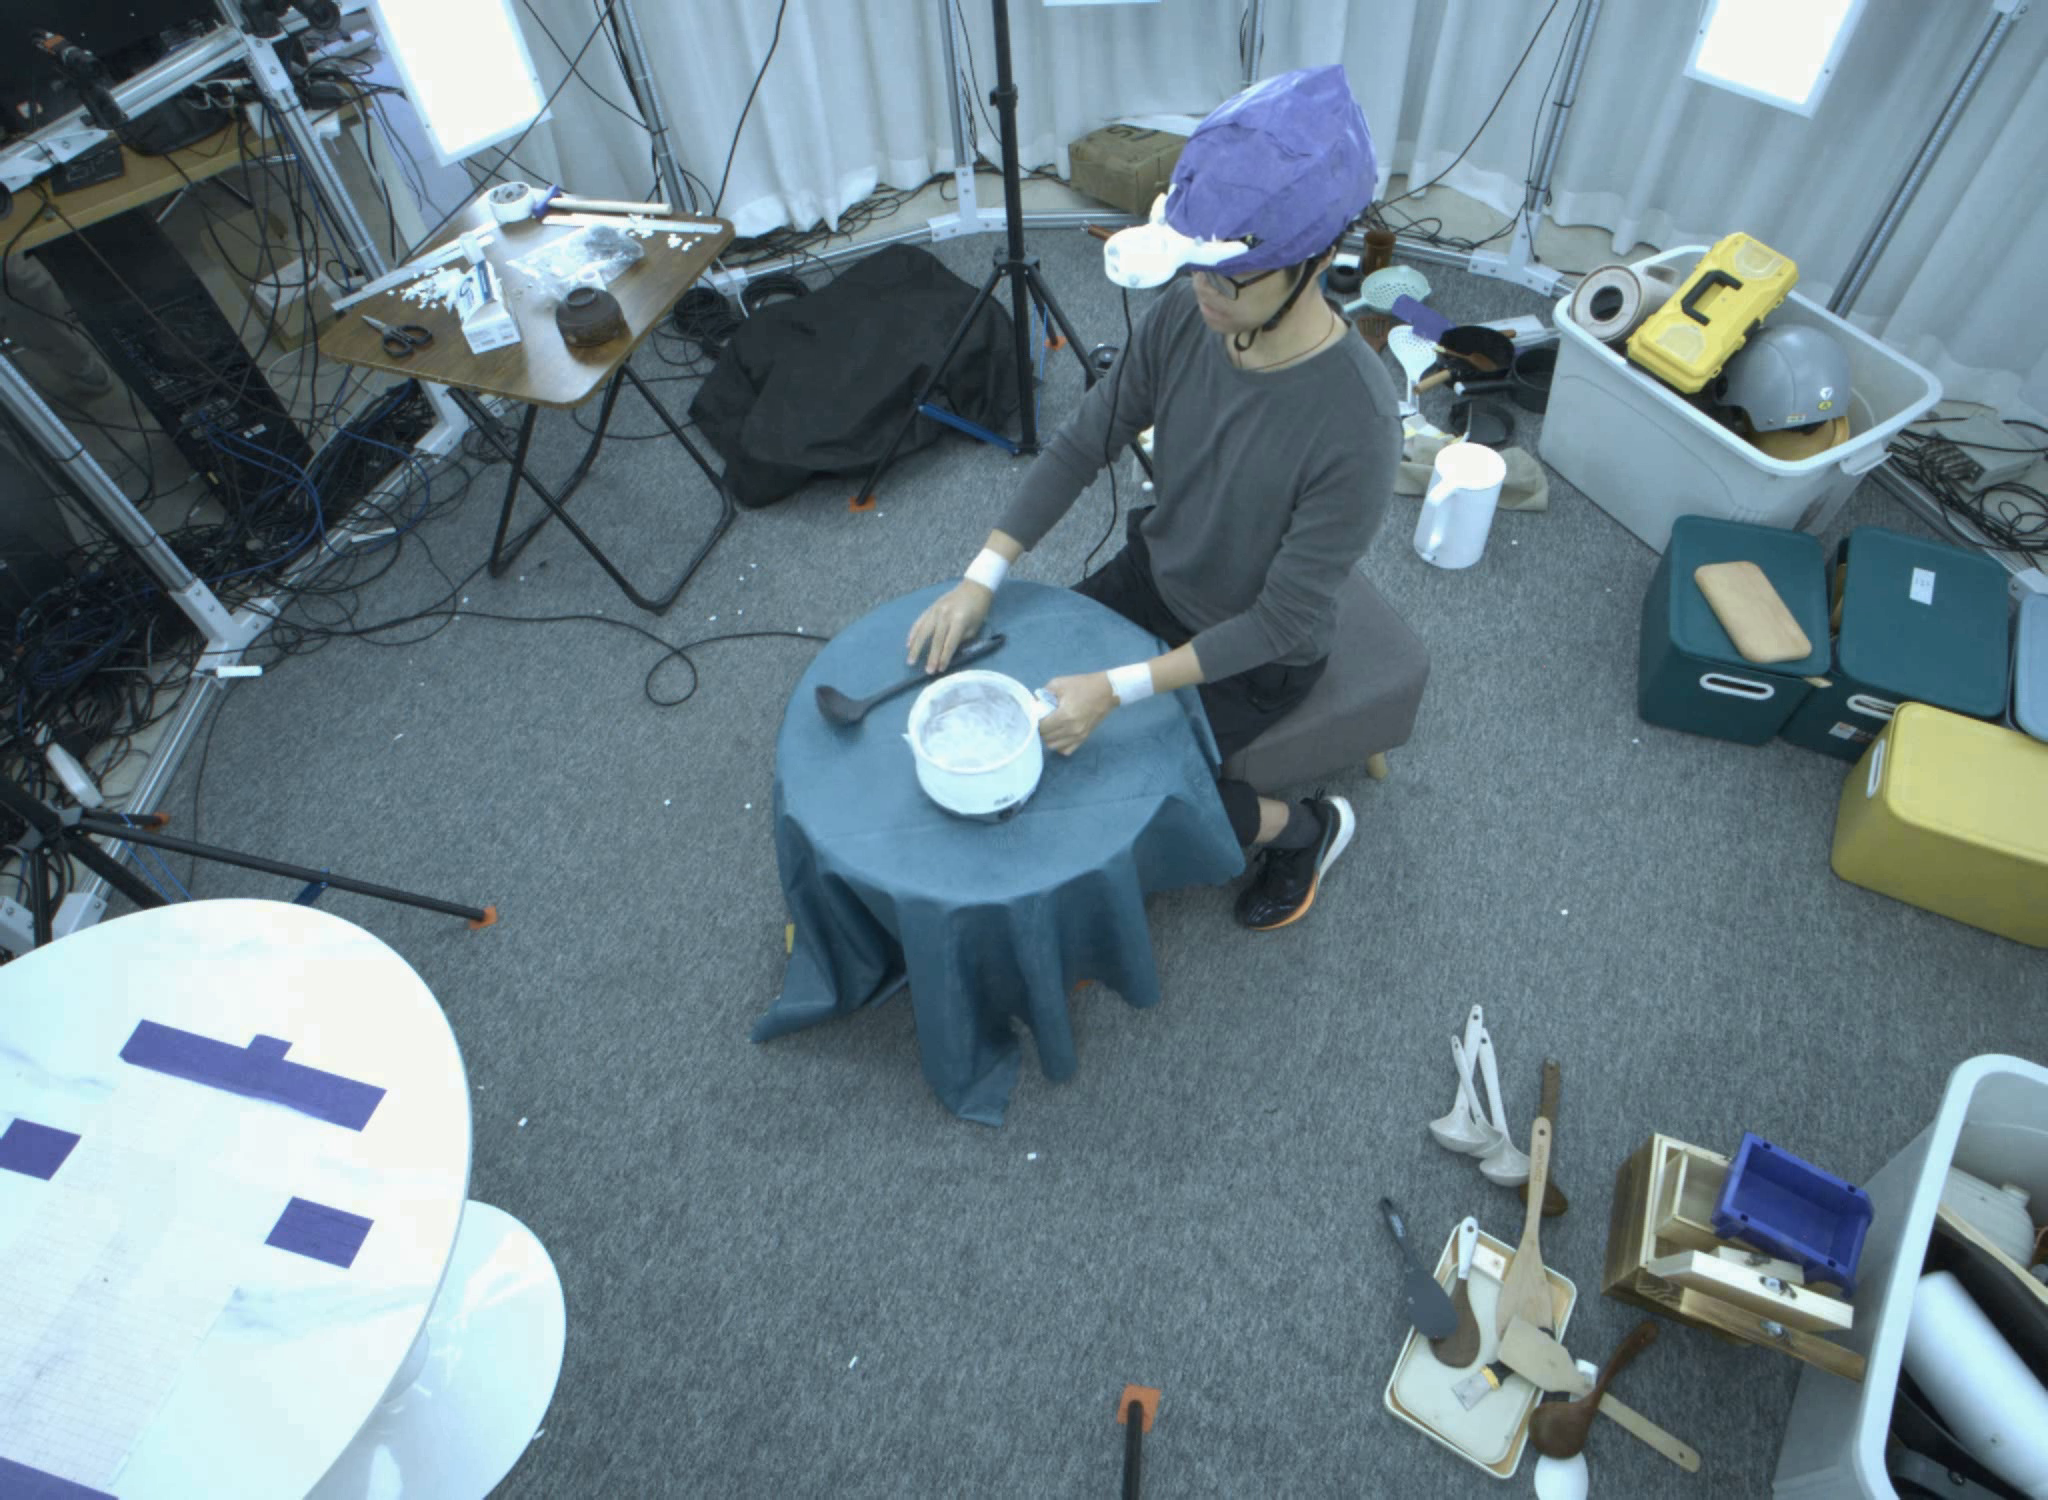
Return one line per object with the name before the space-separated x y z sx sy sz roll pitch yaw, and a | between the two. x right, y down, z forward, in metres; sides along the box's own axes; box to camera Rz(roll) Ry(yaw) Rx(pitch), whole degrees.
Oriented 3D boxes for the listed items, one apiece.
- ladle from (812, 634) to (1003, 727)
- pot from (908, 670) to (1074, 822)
ladle | -0.170 -0.121 1.847 0.316 0.064 0.084 -27 60 -17
pot | -0.040 -0.014 1.722 0.235 0.138 0.175 -23 57 -14
